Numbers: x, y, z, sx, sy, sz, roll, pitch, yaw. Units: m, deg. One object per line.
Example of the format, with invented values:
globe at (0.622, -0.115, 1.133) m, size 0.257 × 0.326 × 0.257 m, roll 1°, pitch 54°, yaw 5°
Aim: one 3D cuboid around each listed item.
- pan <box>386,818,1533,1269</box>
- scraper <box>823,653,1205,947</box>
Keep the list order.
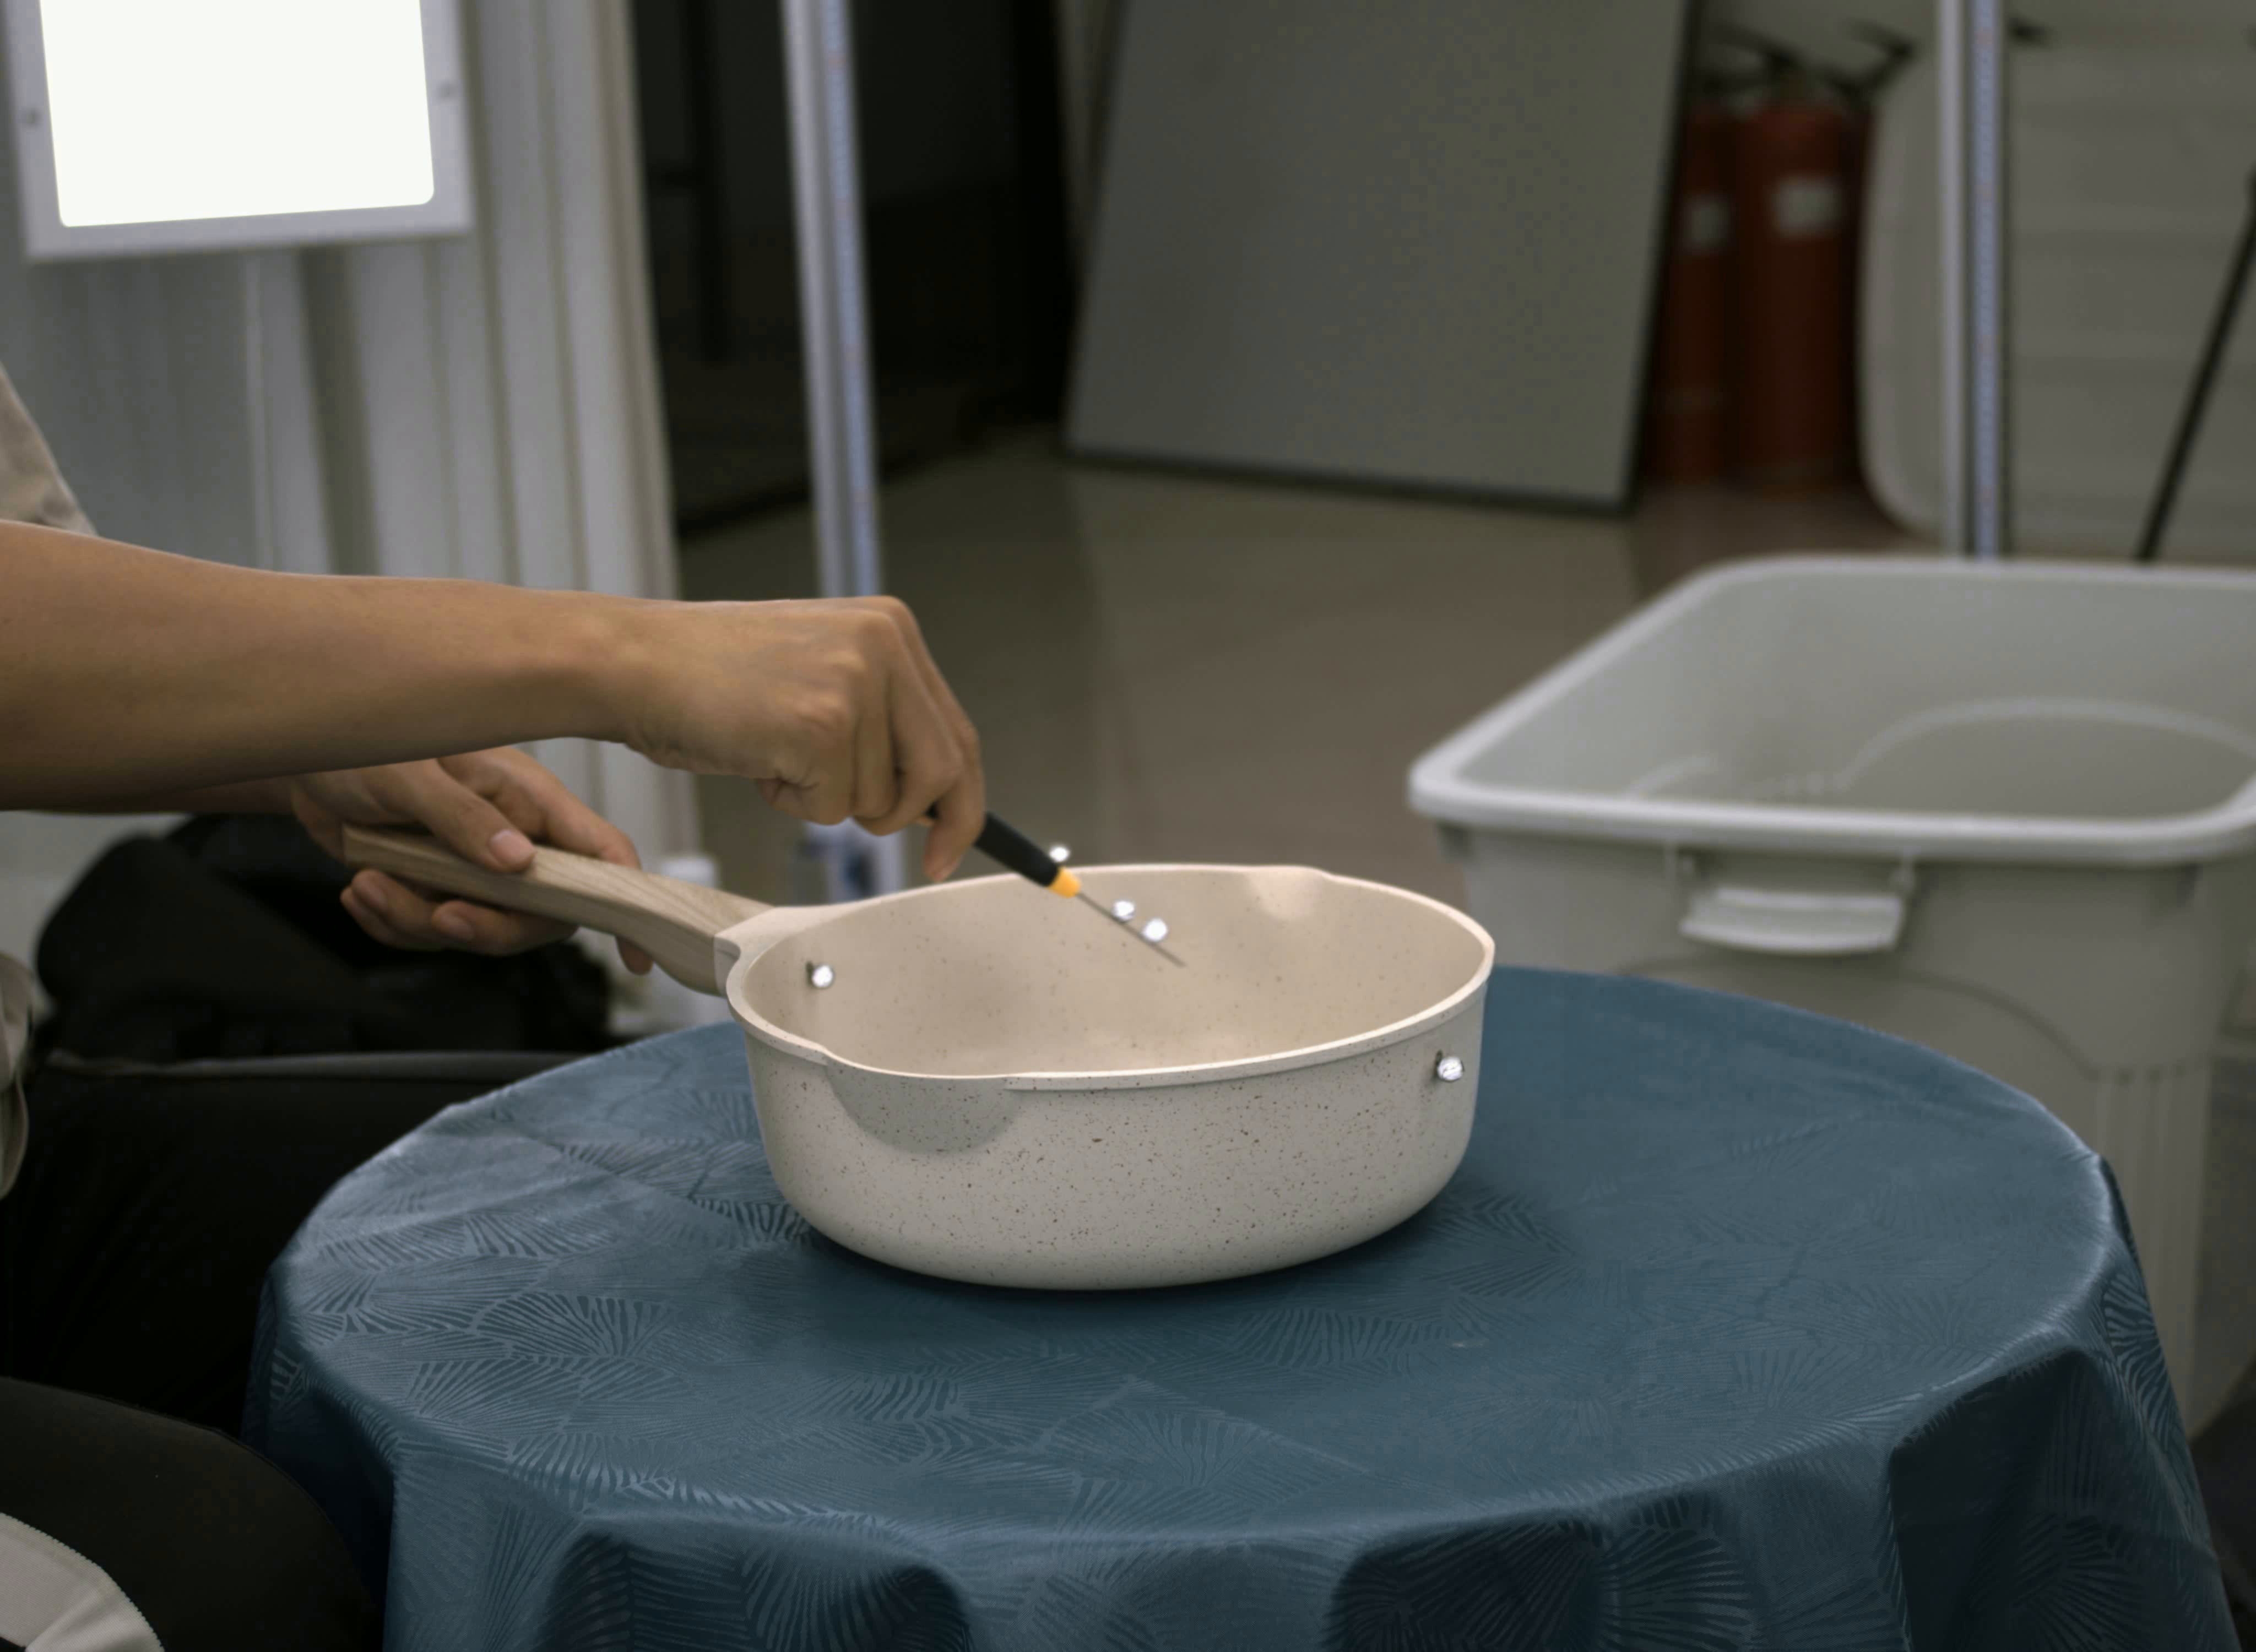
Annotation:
pan at (-0.067, 0.061, 1.818) m, size 0.437 × 0.103 × 0.259 m, roll 4°, pitch 18°, yaw 31°
scraper at (-0.037, -0.008, 1.784) m, size 0.168 × 0.015 × 0.039 m, roll 37°, pitch 5°, yaw -31°
